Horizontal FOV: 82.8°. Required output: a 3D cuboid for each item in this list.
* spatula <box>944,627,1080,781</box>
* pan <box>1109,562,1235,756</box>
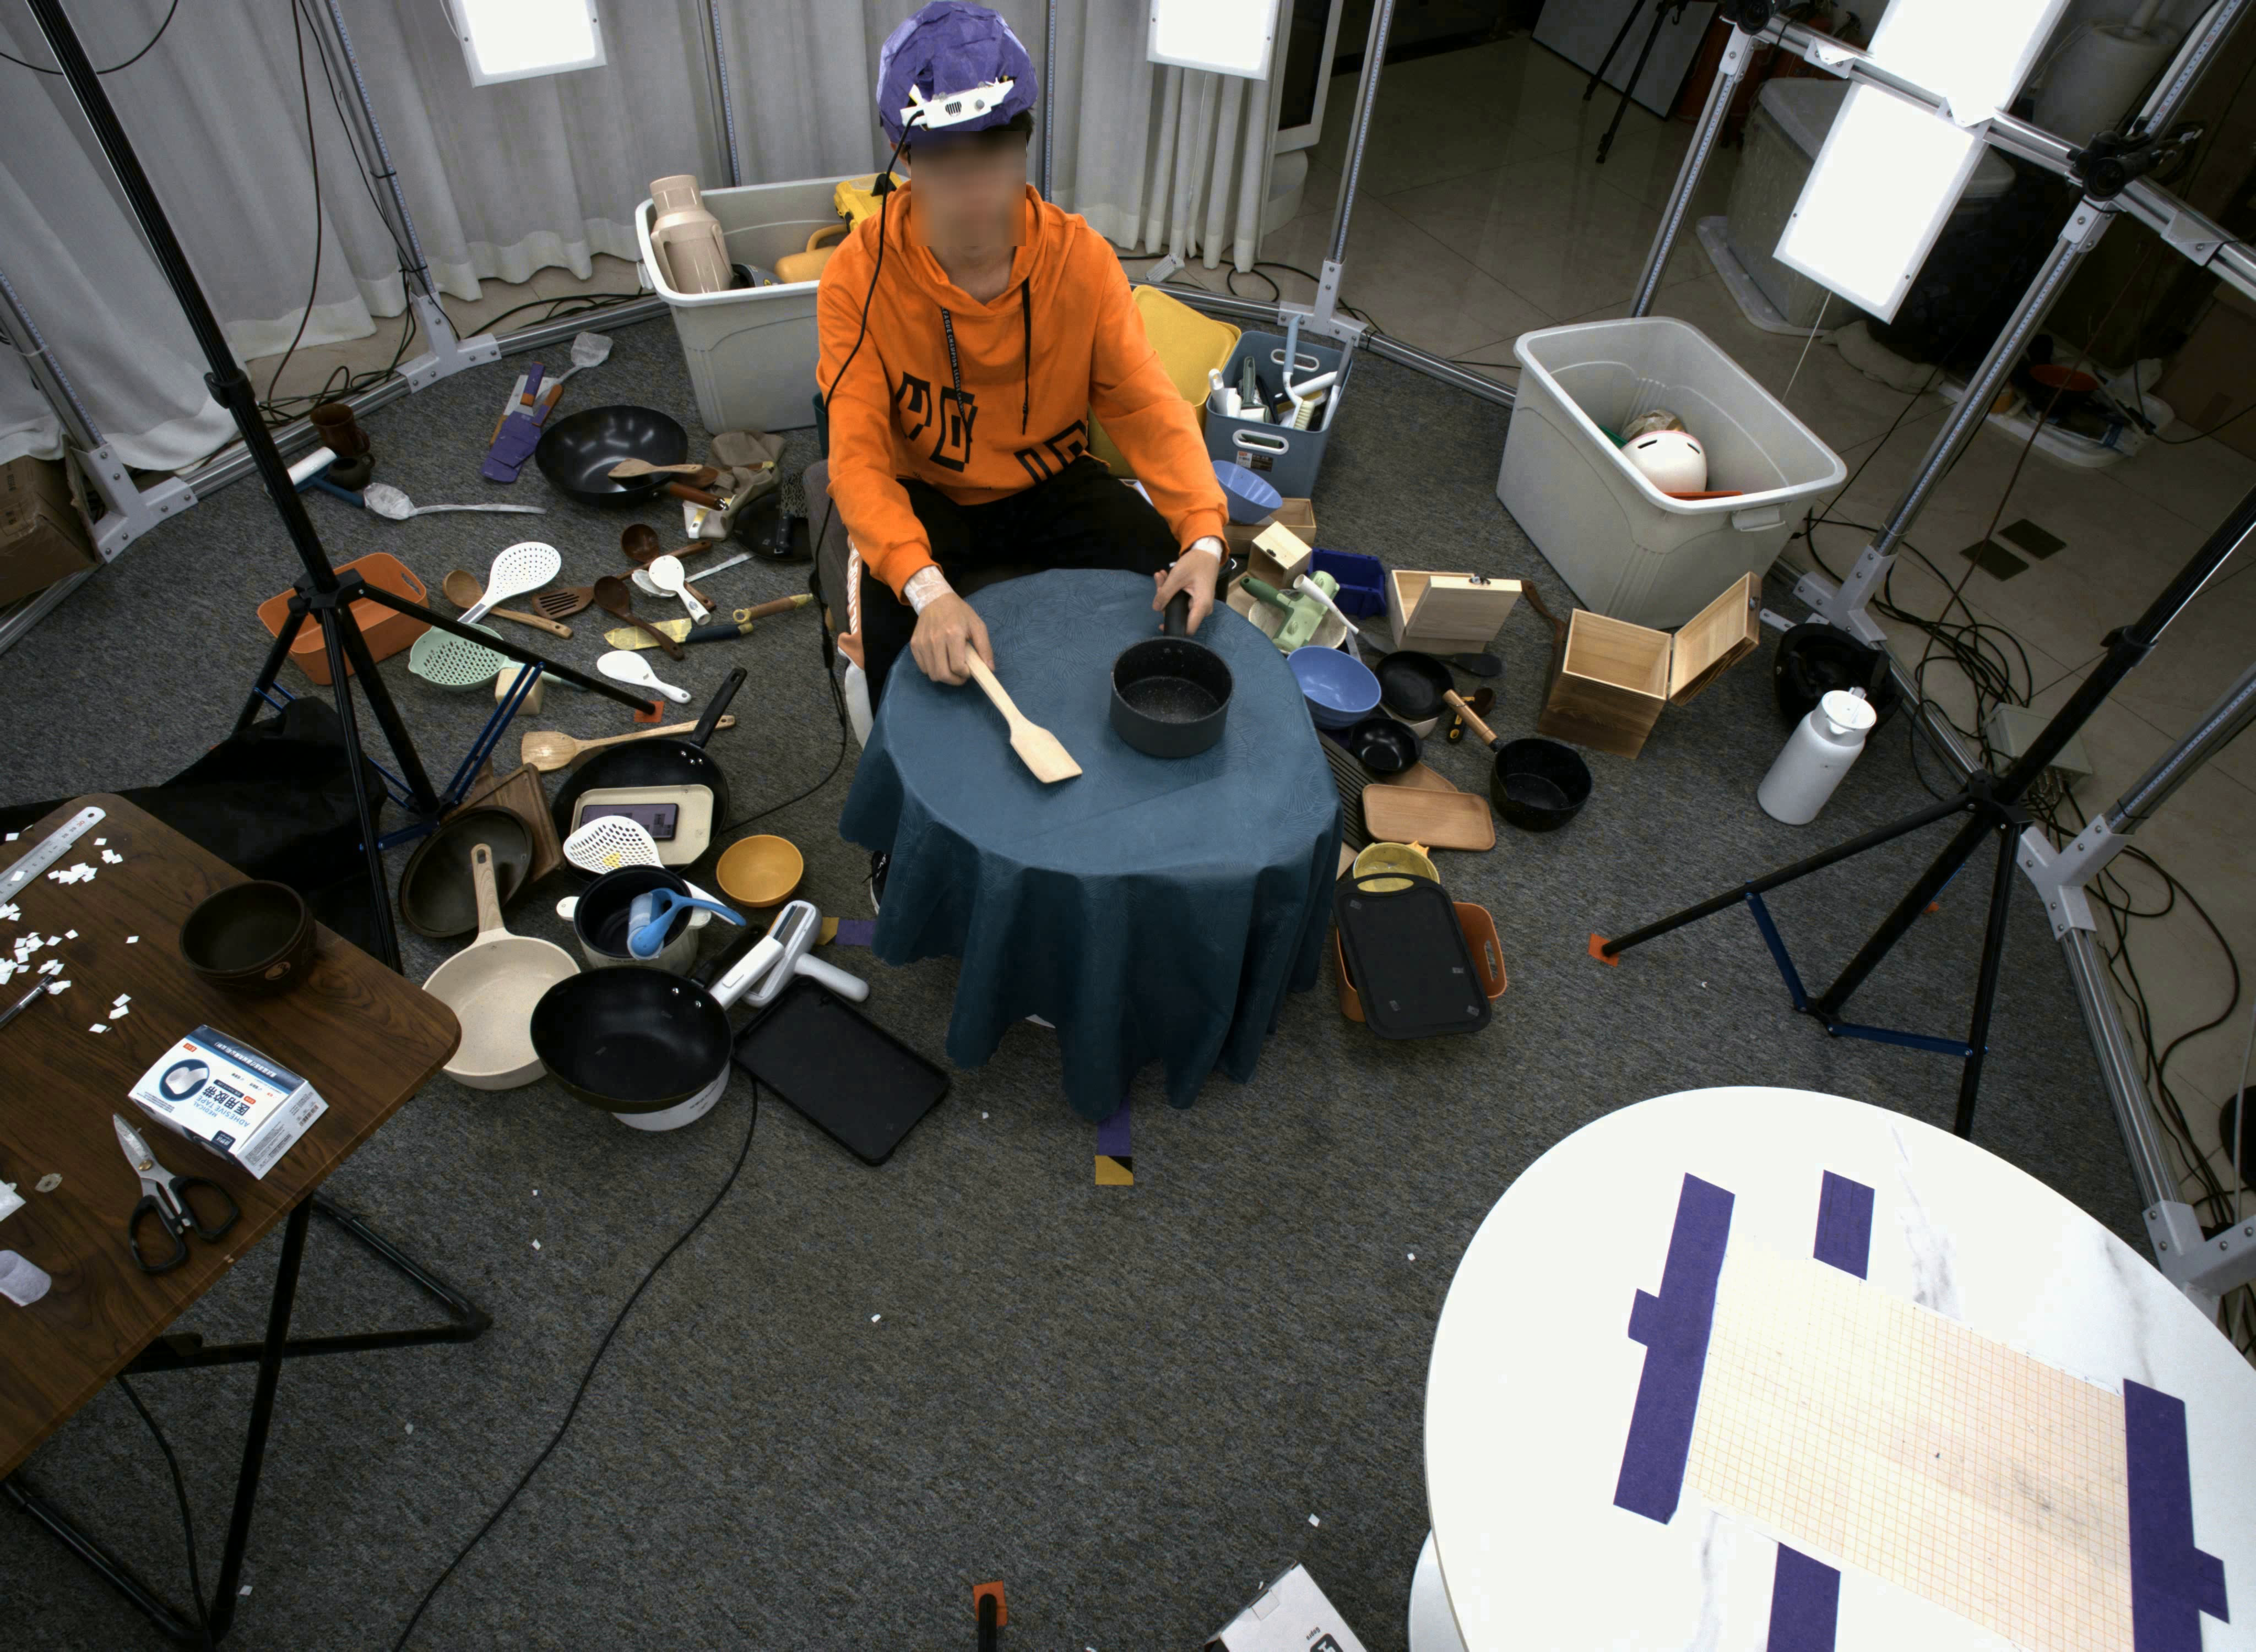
[{"bbox_3d":[-0.171,-0.173,1.765,0.072,0.010,0.298,-17,59,-38],"label":"spatula"},{"bbox_3d":[0.067,-0.241,1.828,0.172,0.084,0.336,8,50,1],"label":"pan"}]
